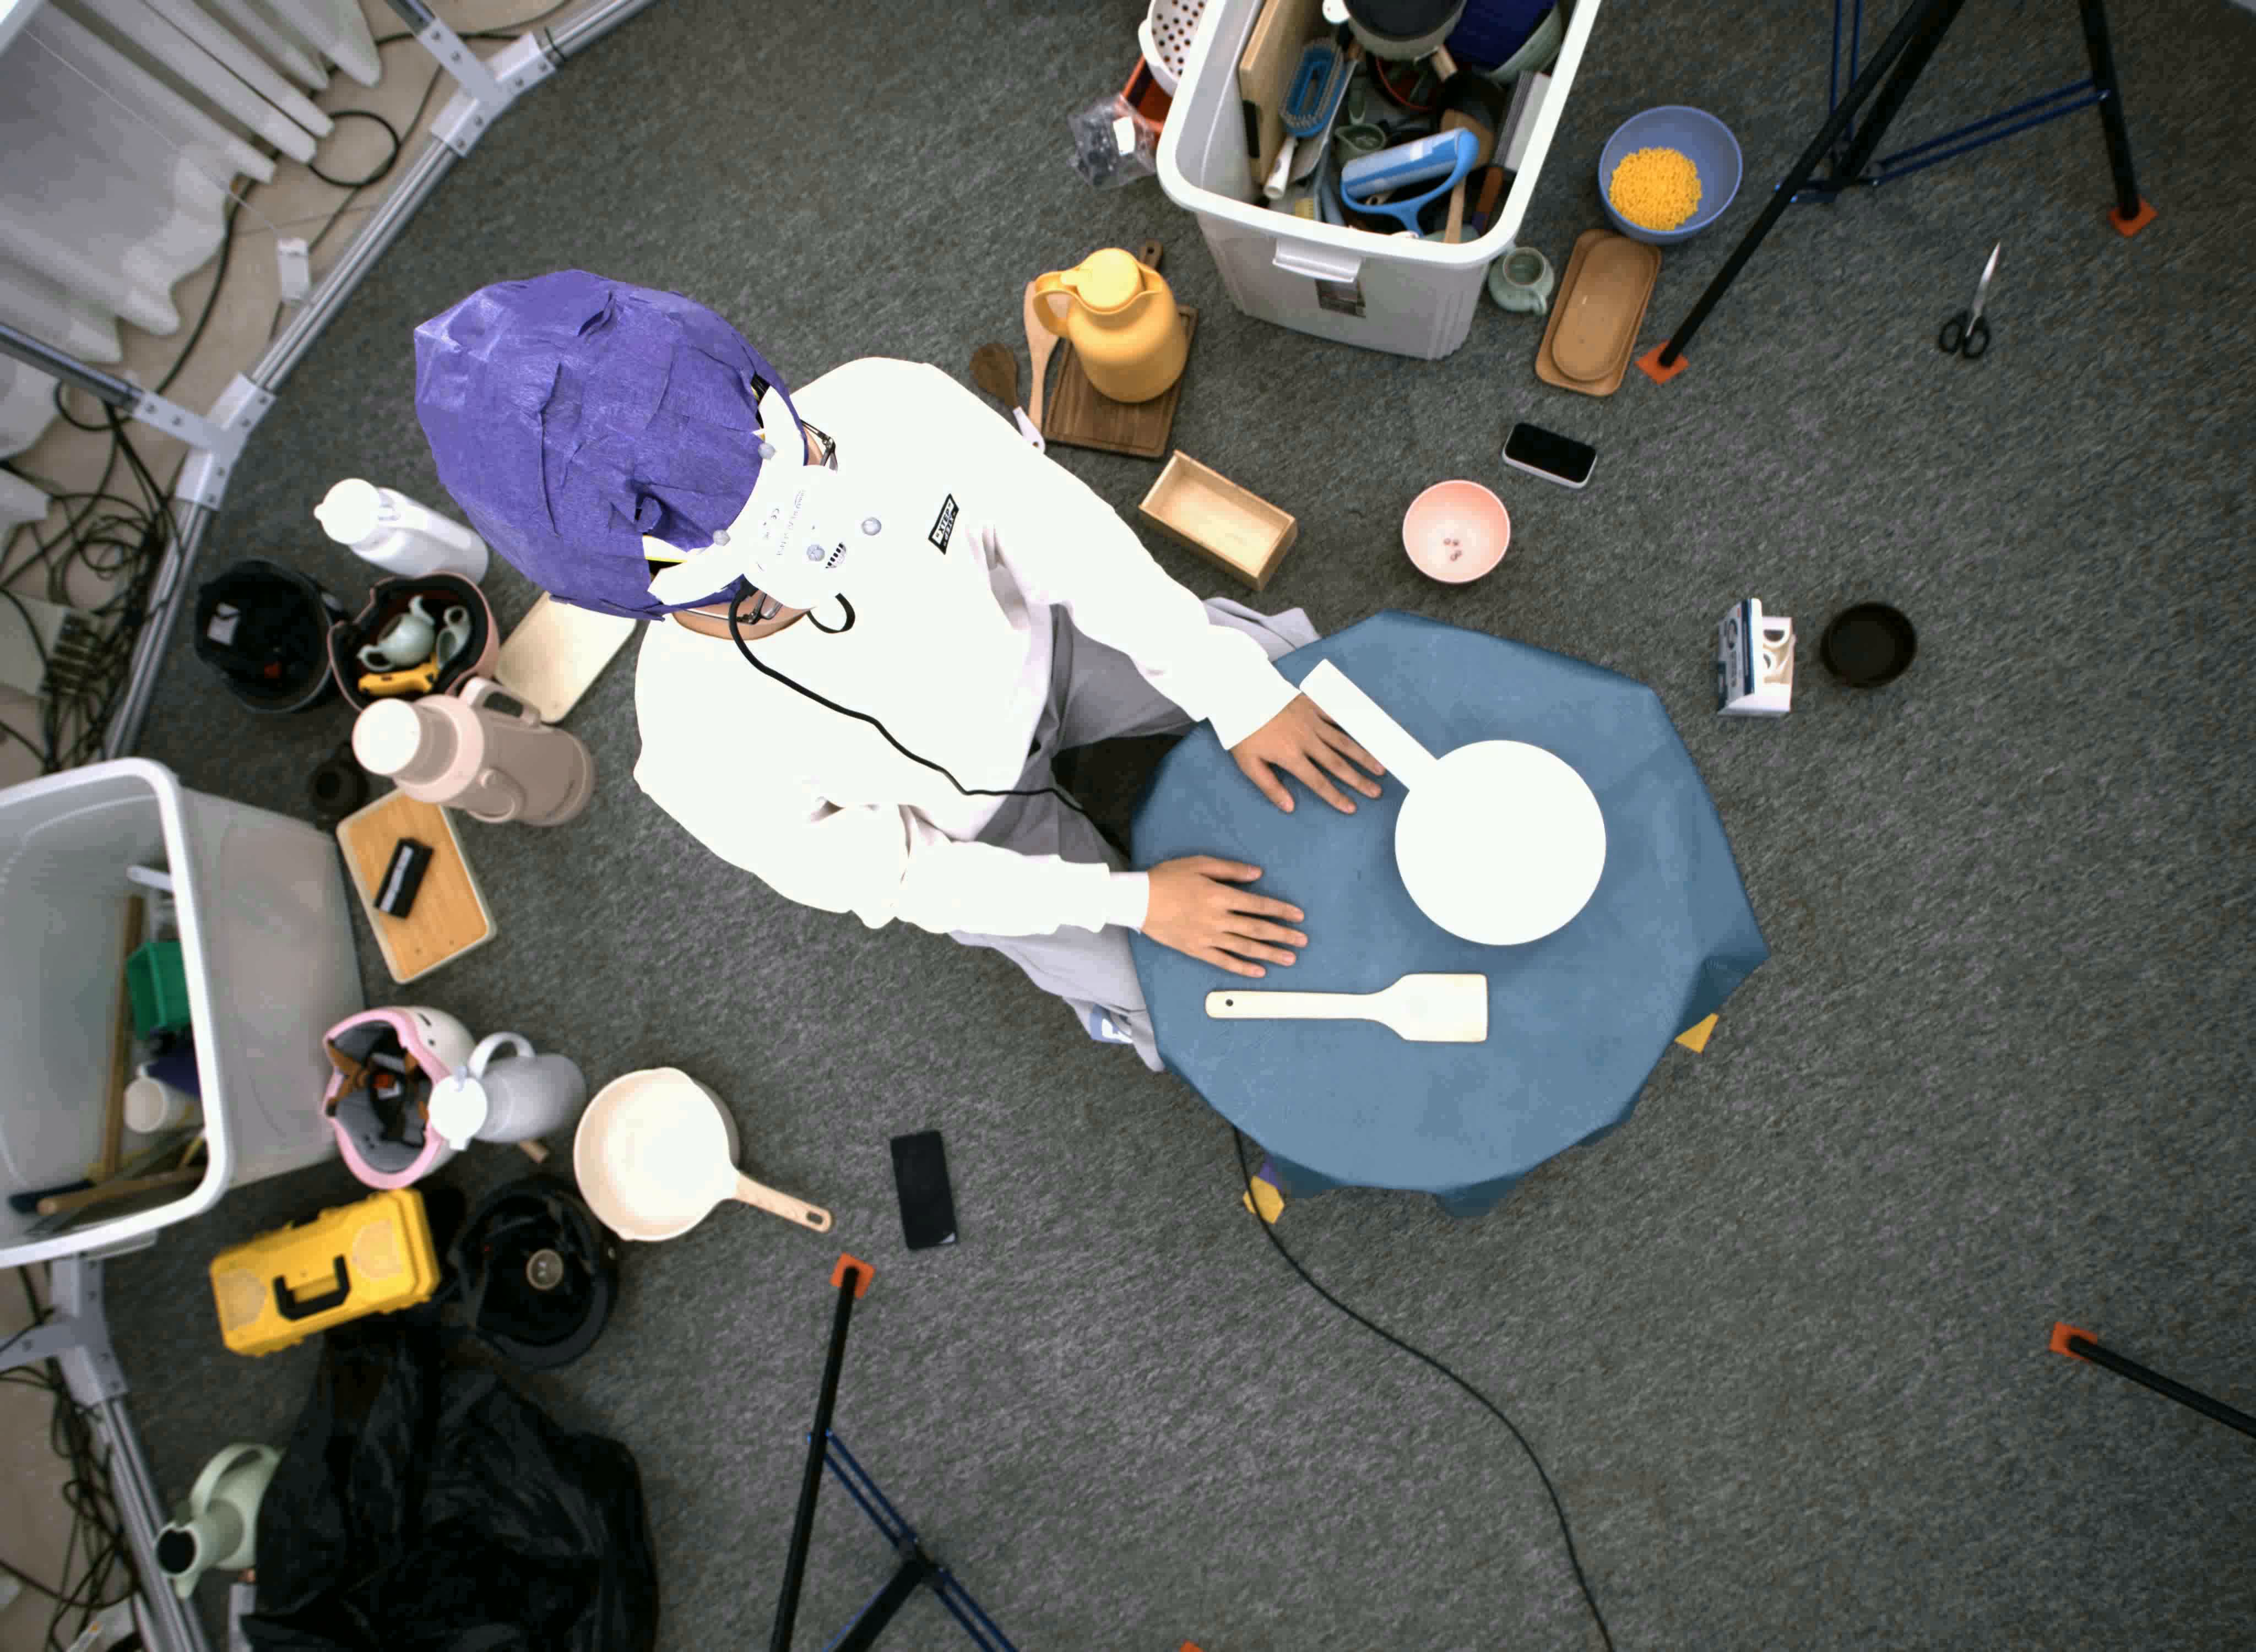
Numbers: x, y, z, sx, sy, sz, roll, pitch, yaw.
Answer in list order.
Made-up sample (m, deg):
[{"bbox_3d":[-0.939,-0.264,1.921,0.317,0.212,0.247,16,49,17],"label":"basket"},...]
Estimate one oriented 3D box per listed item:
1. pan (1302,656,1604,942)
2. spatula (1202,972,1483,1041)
[{"bbox_3d":[0.319,-0.035,1.407,0.353,0.102,0.202,44,95,11],"label":"pan"},{"bbox_3d":[0.224,0.187,1.457,0.294,0.010,0.072,-1,88,11],"label":"spatula"}]
